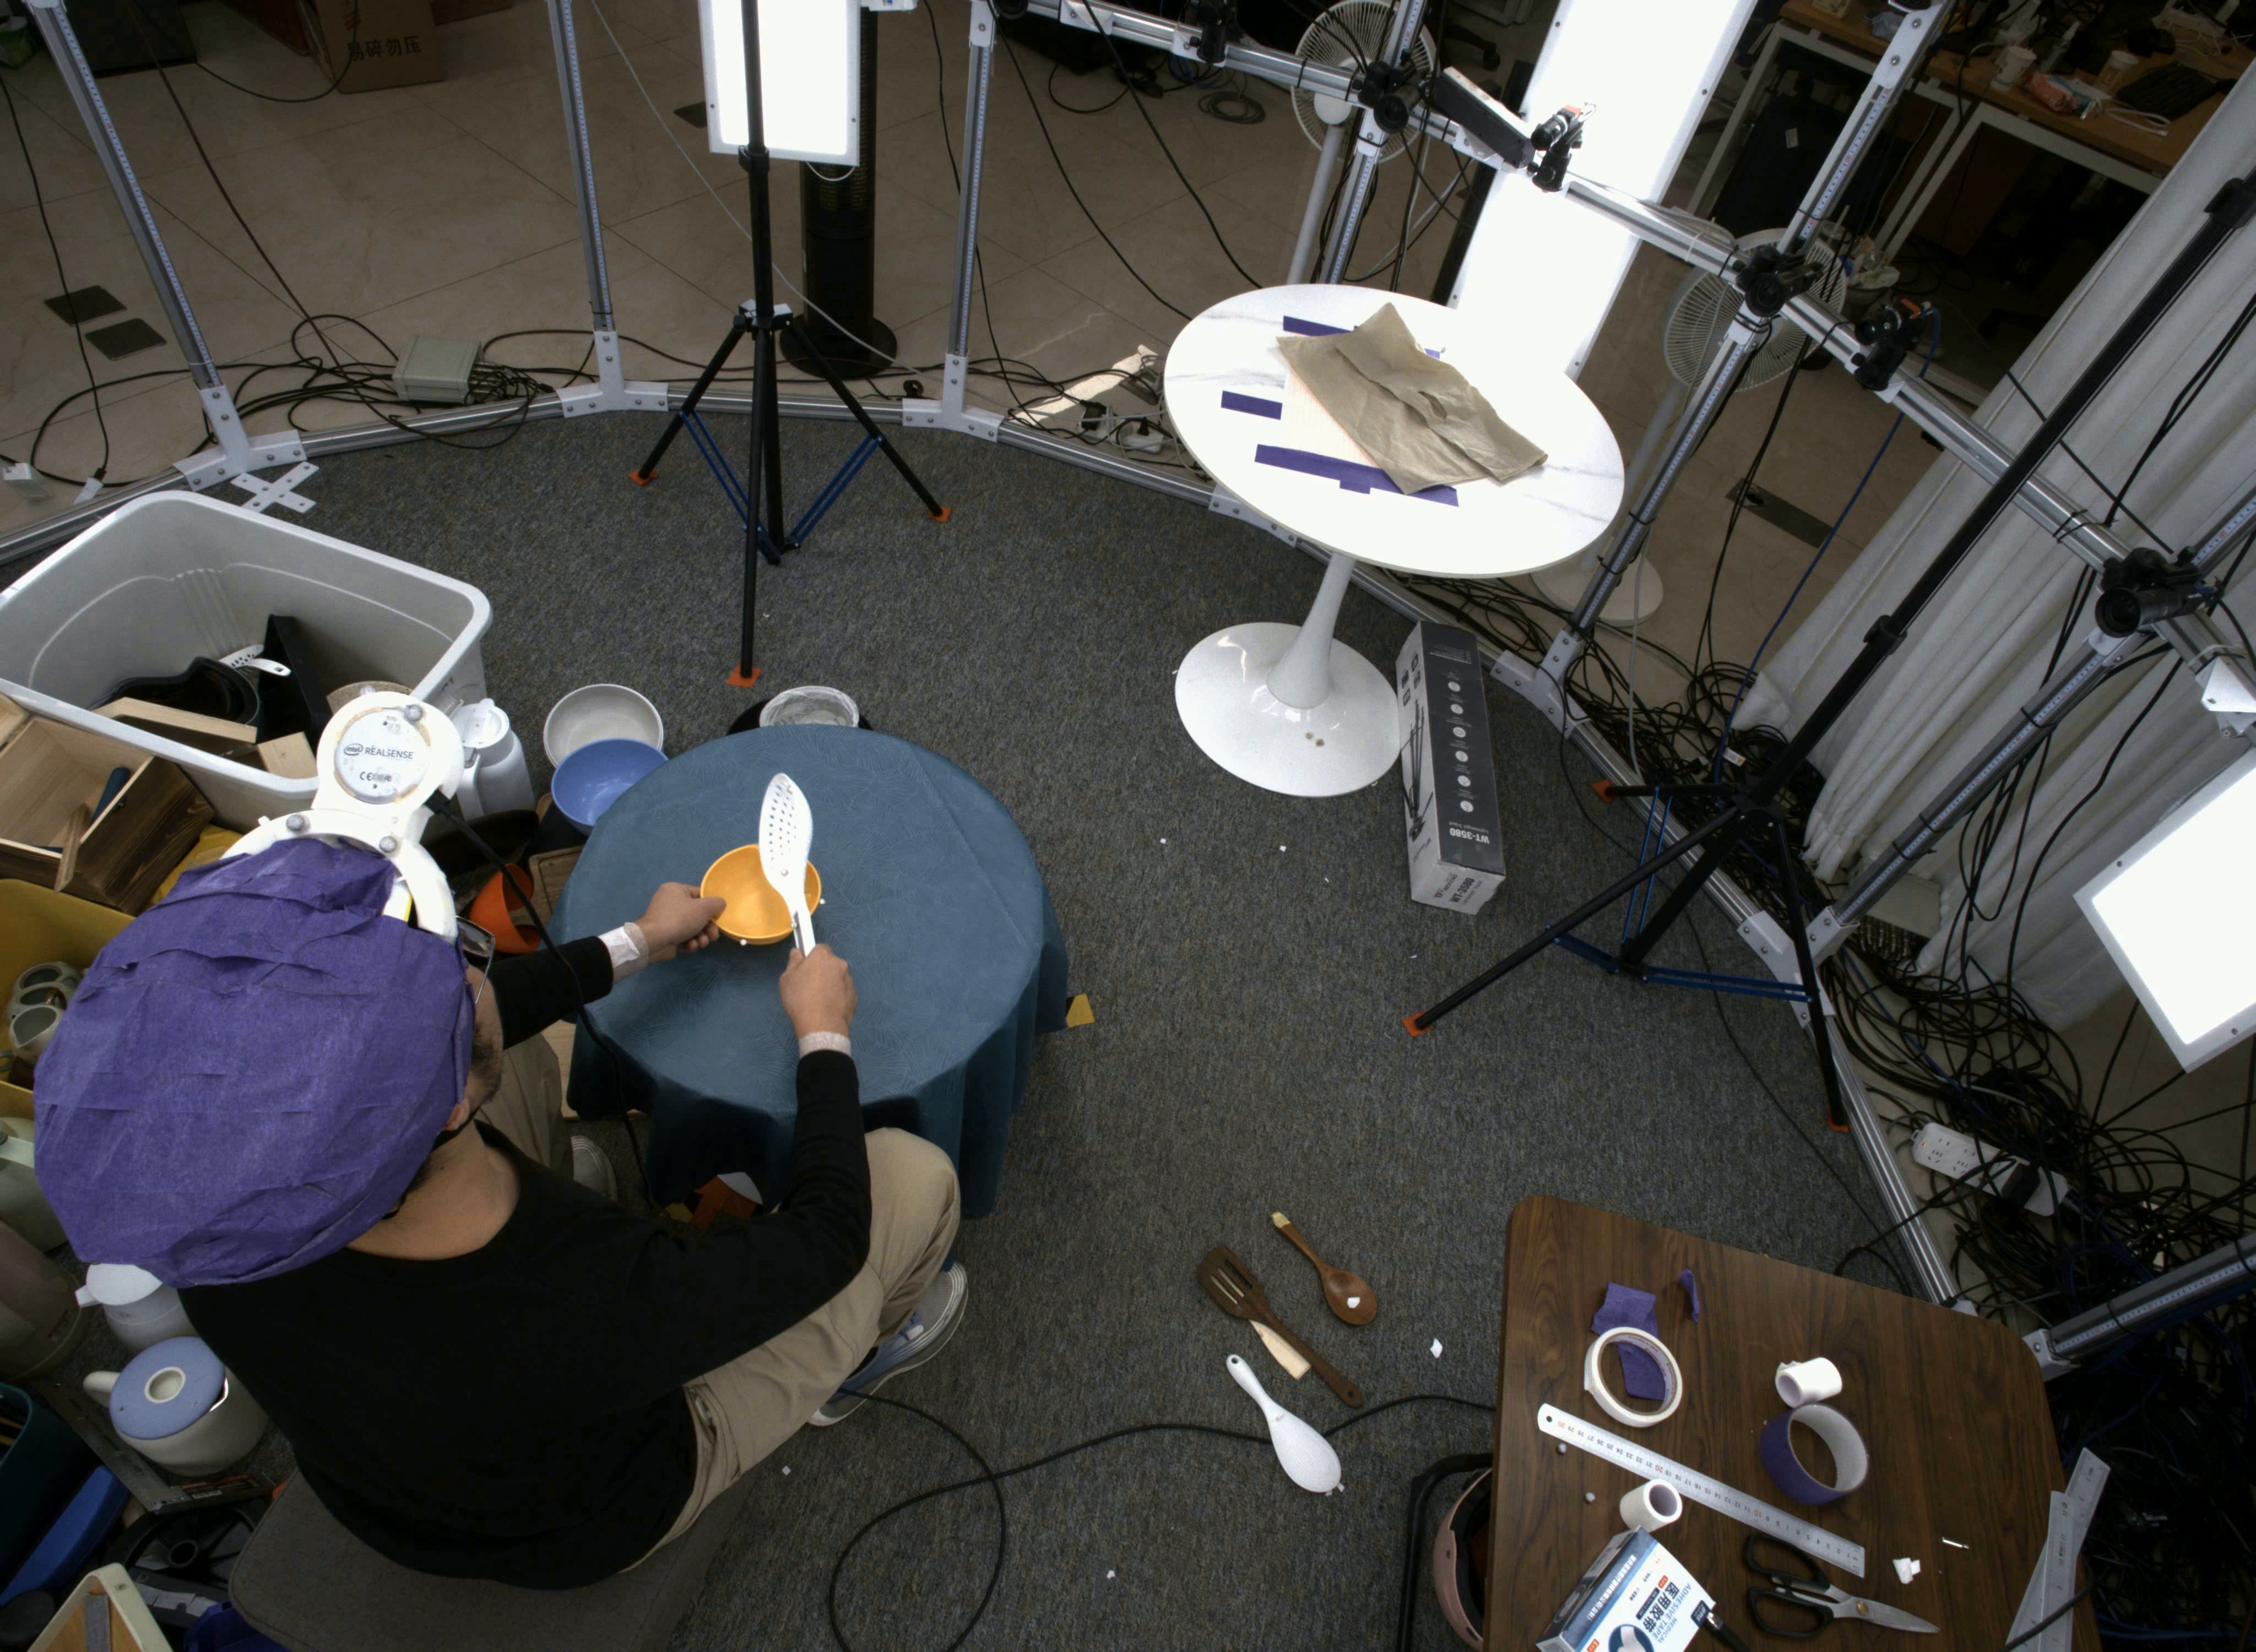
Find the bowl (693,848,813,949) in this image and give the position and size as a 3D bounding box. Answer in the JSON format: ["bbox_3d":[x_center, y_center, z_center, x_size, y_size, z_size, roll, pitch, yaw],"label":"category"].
[{"bbox_3d":[-0.461,0.098,1.600,0.144,0.061,0.142,6,50,-6],"label":"bowl"}]

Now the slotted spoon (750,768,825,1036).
[{"bbox_3d":[-0.397,0.084,1.515,0.046,0.137,0.342,5,51,-30],"label":"slotted spoon"}]
